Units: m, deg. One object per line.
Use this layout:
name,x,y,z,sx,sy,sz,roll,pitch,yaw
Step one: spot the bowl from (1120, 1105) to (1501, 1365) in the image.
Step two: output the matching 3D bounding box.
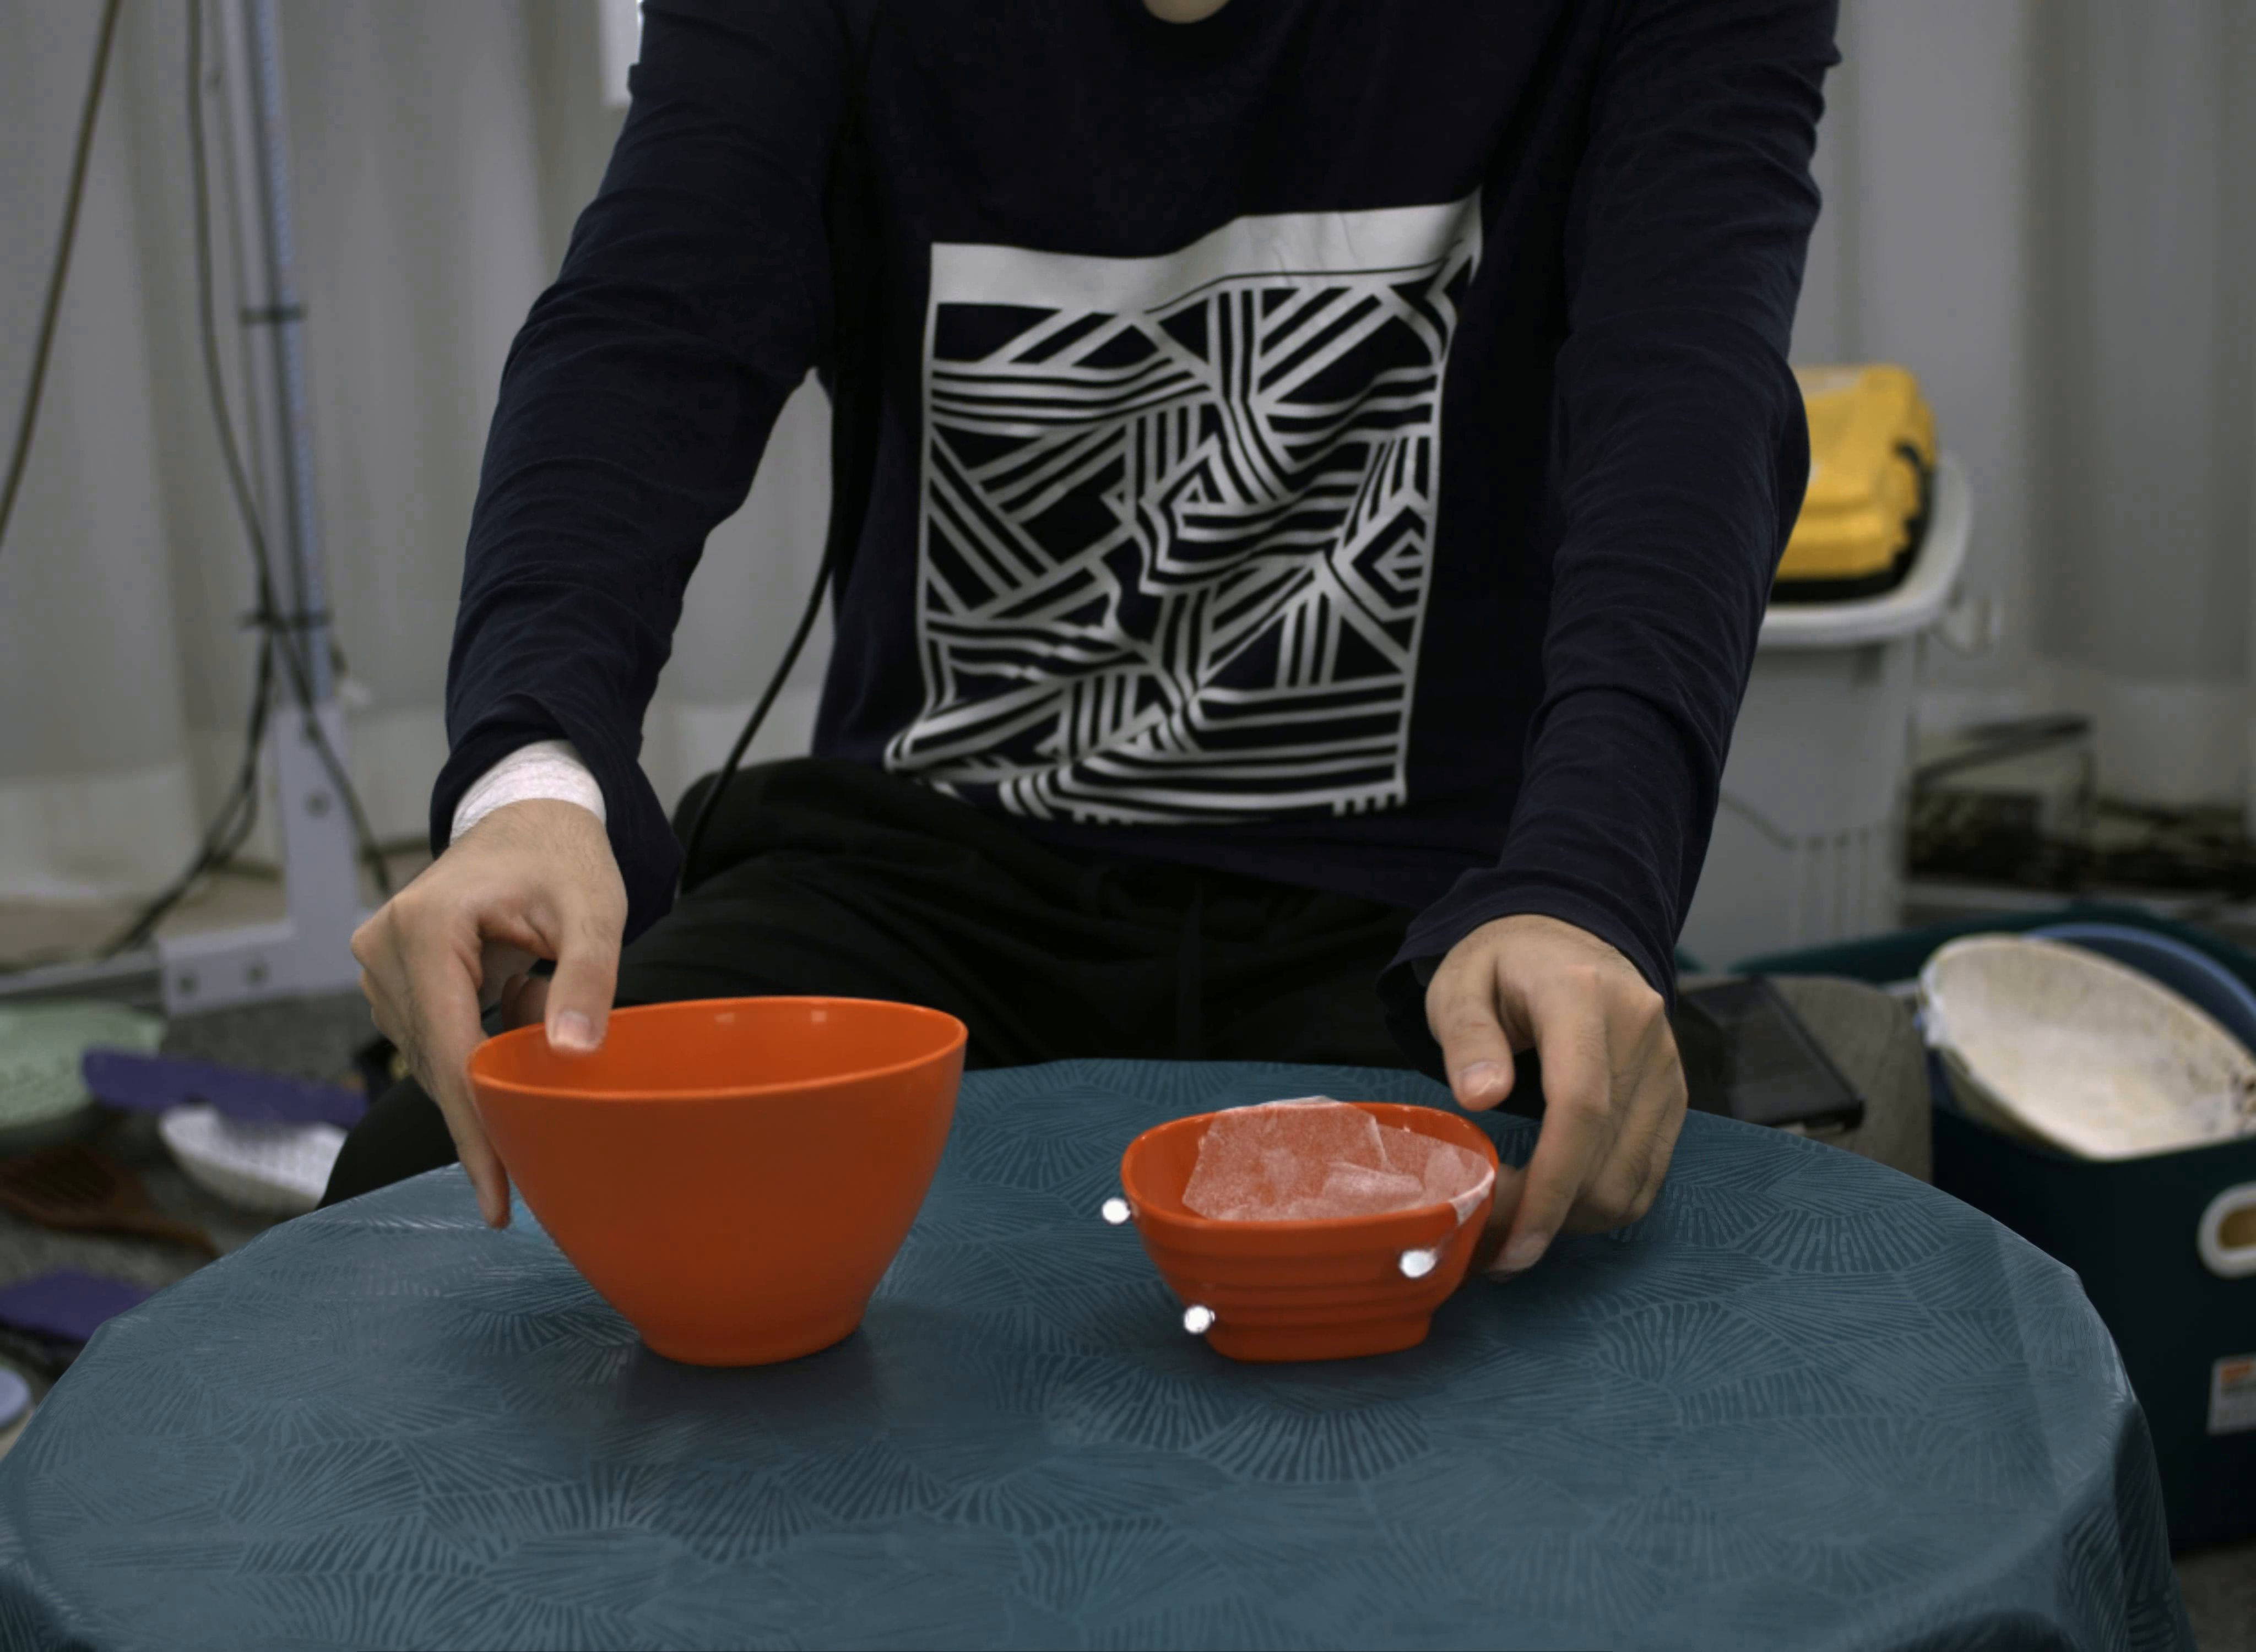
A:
bowl,0.054,0.121,1.588,0.118,0.051,0.119,-4,13,1

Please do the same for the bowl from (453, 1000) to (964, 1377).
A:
bowl,-0.117,0.104,1.585,0.147,0.104,0.149,-4,17,1
